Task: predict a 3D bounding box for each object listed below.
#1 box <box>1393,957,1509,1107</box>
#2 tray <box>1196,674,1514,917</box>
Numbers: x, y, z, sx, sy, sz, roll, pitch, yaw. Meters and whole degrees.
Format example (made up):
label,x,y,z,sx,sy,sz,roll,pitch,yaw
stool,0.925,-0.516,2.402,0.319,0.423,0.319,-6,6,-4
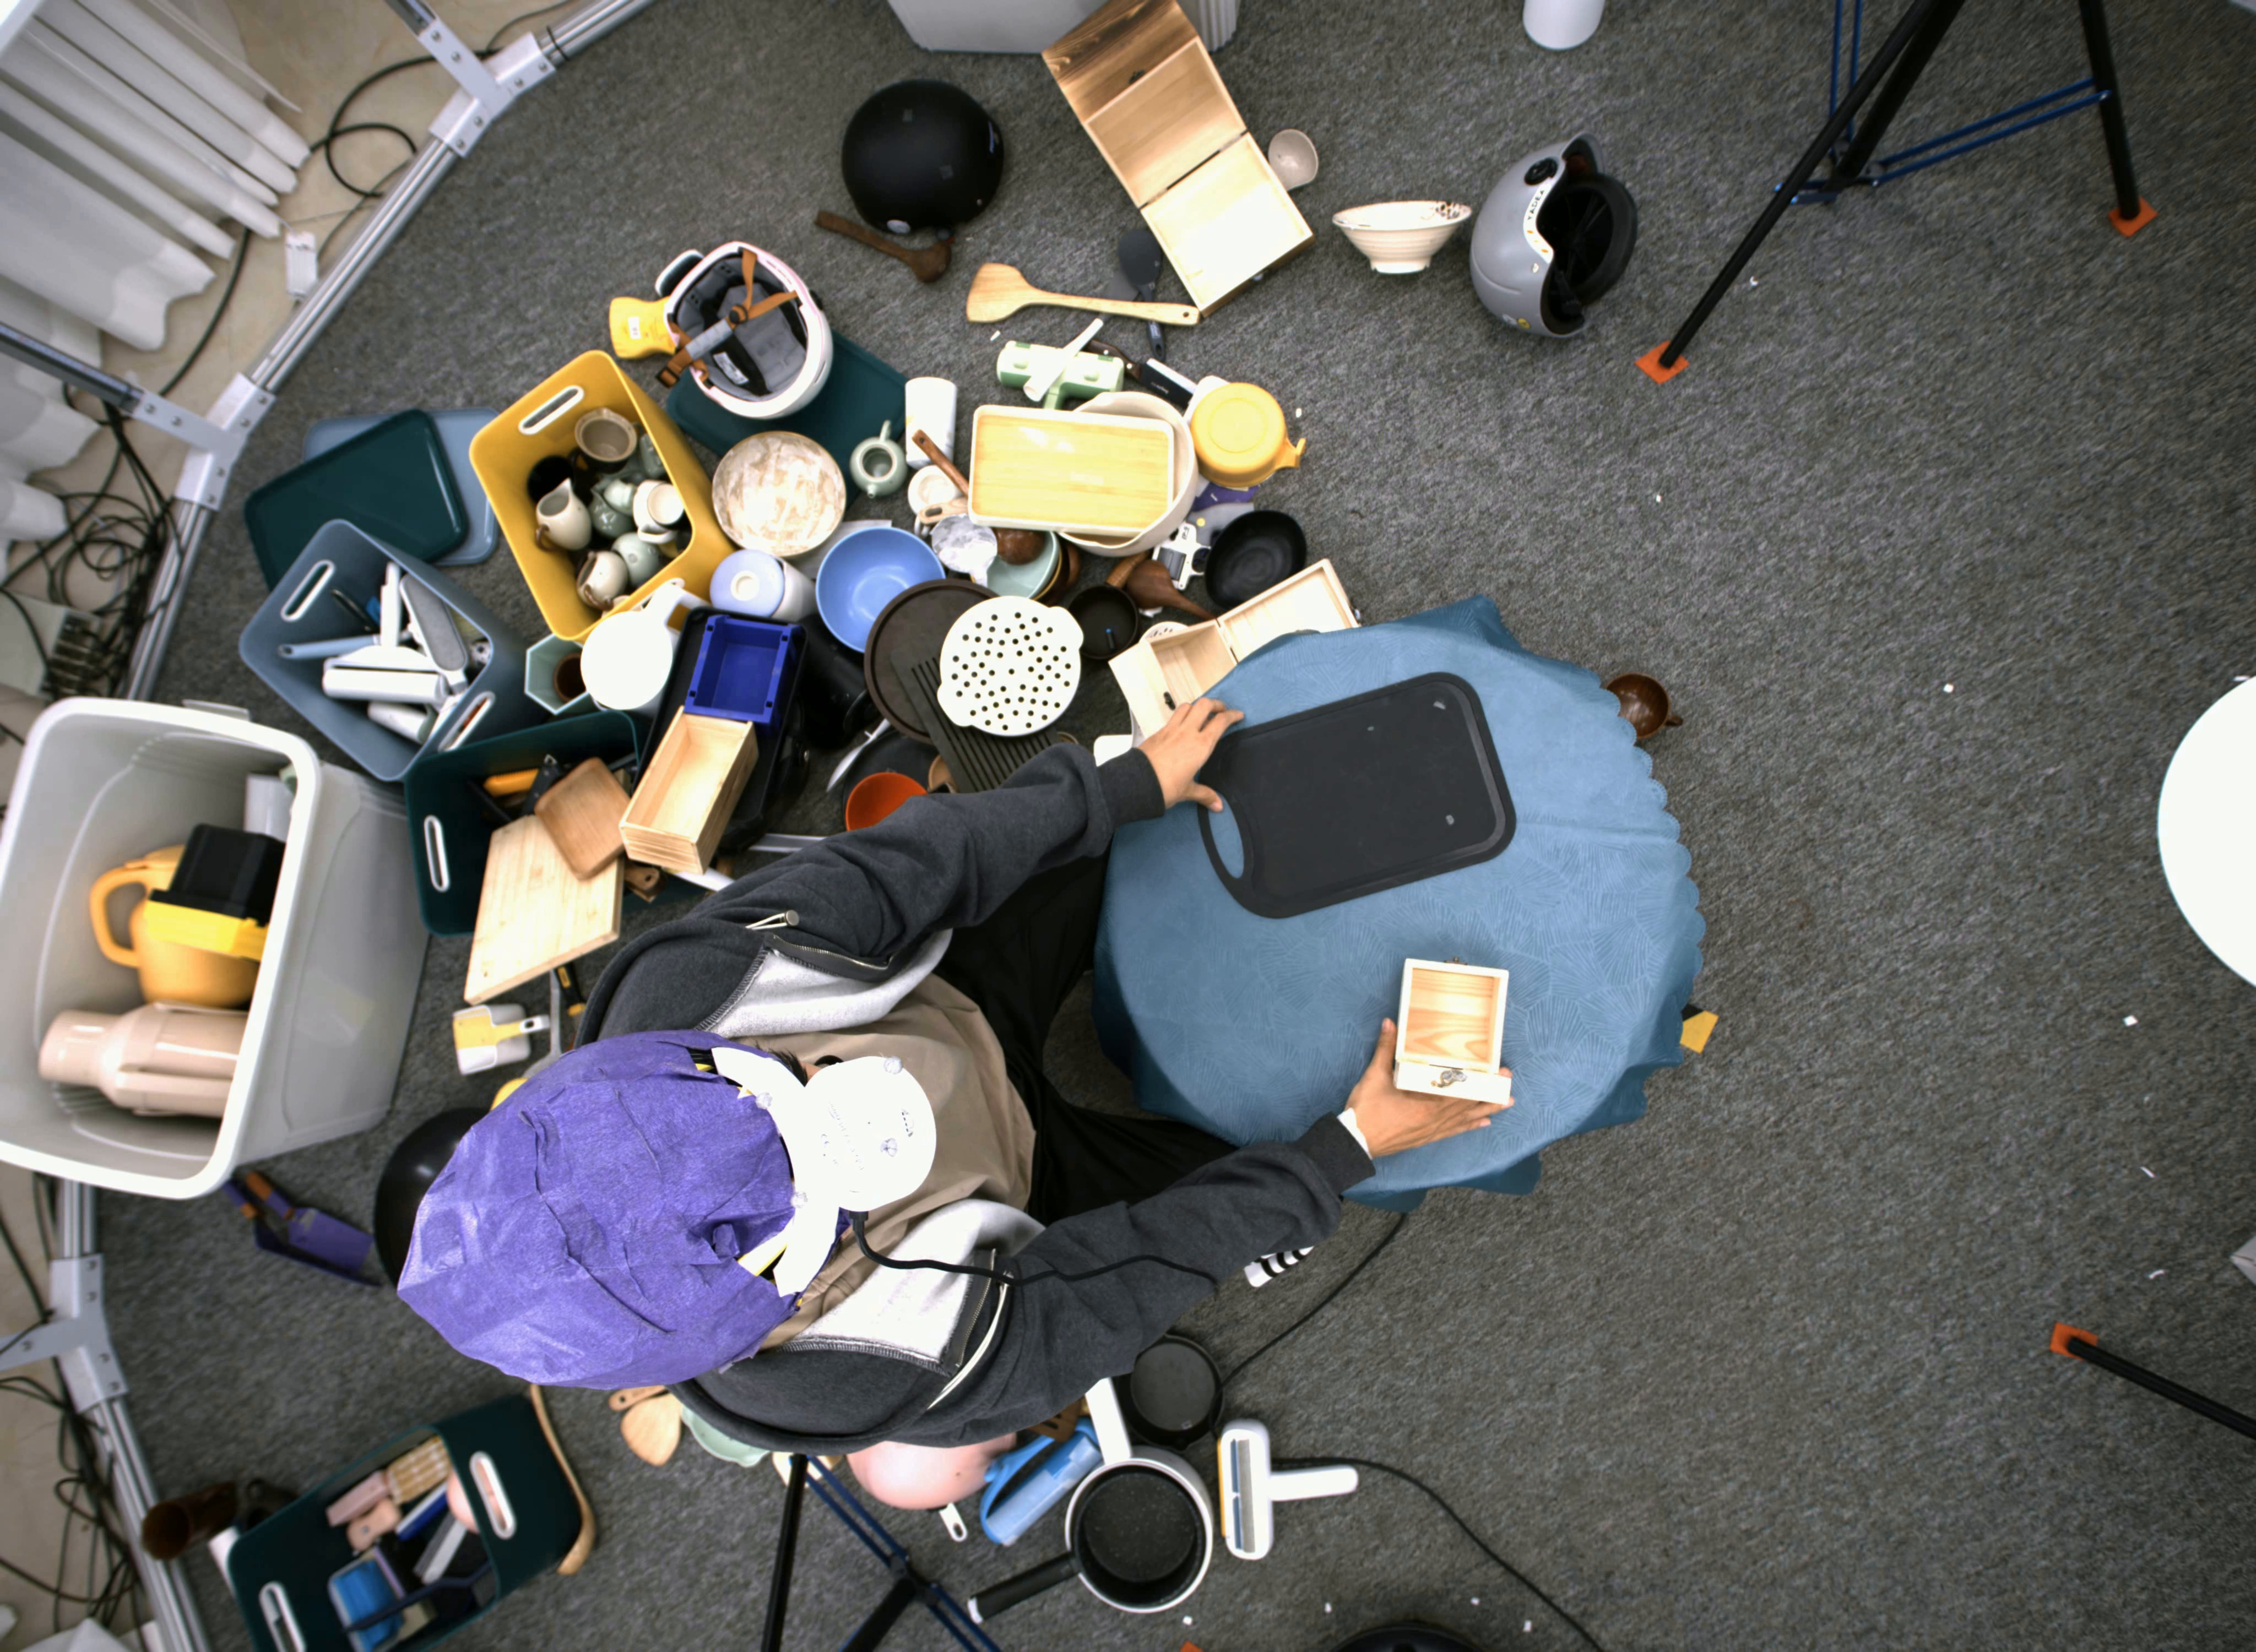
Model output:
label,x,y,z,sx,sy,sz,roll,pitch,yaw
box,0.318,0.193,1.350,0.103,0.184,0.133,6,88,10
tray,0.234,-0.031,1.468,0.327,0.010,0.210,-16,84,9
